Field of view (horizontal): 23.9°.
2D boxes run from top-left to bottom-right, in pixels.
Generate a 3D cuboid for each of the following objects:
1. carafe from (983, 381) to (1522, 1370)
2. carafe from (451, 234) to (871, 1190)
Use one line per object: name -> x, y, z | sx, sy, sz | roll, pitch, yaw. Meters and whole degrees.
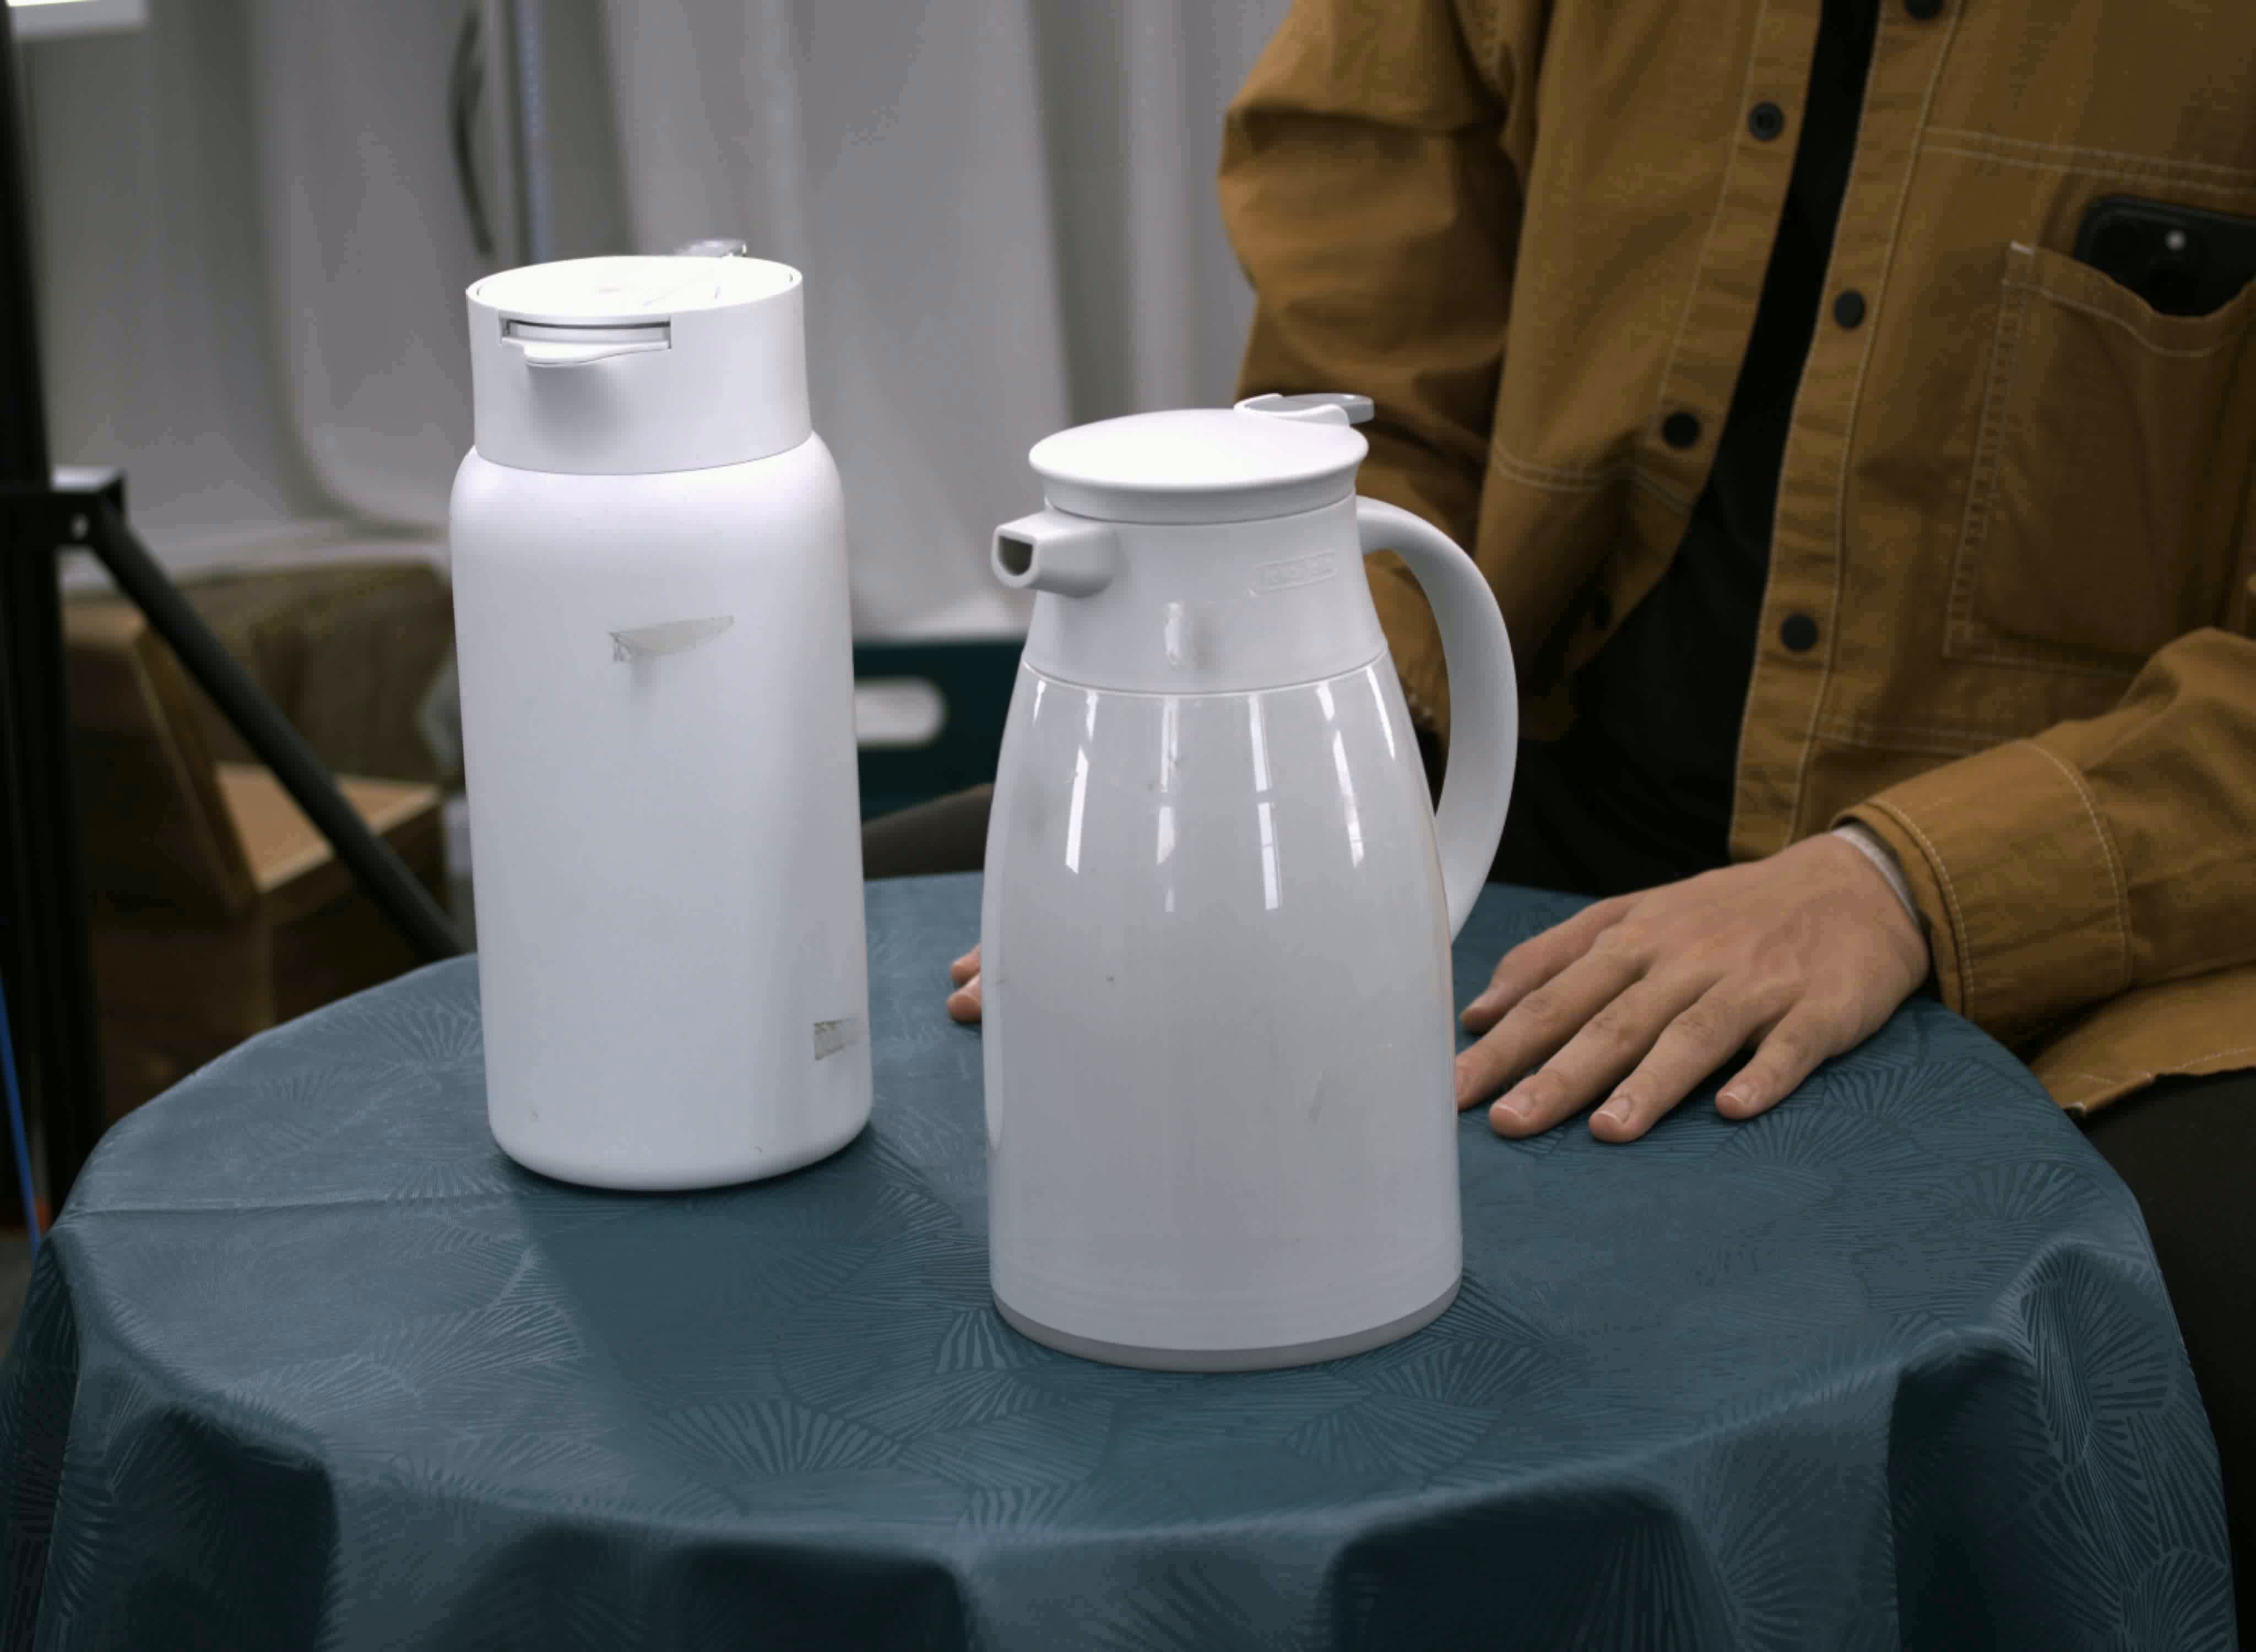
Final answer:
carafe -> 0.039, 0.005, 1.455 | 0.164, 0.248, 0.135 | -12, 18, -35
carafe -> -0.136, -0.038, 1.605 | 0.125, 0.269, 0.171 | 1, 15, 17
